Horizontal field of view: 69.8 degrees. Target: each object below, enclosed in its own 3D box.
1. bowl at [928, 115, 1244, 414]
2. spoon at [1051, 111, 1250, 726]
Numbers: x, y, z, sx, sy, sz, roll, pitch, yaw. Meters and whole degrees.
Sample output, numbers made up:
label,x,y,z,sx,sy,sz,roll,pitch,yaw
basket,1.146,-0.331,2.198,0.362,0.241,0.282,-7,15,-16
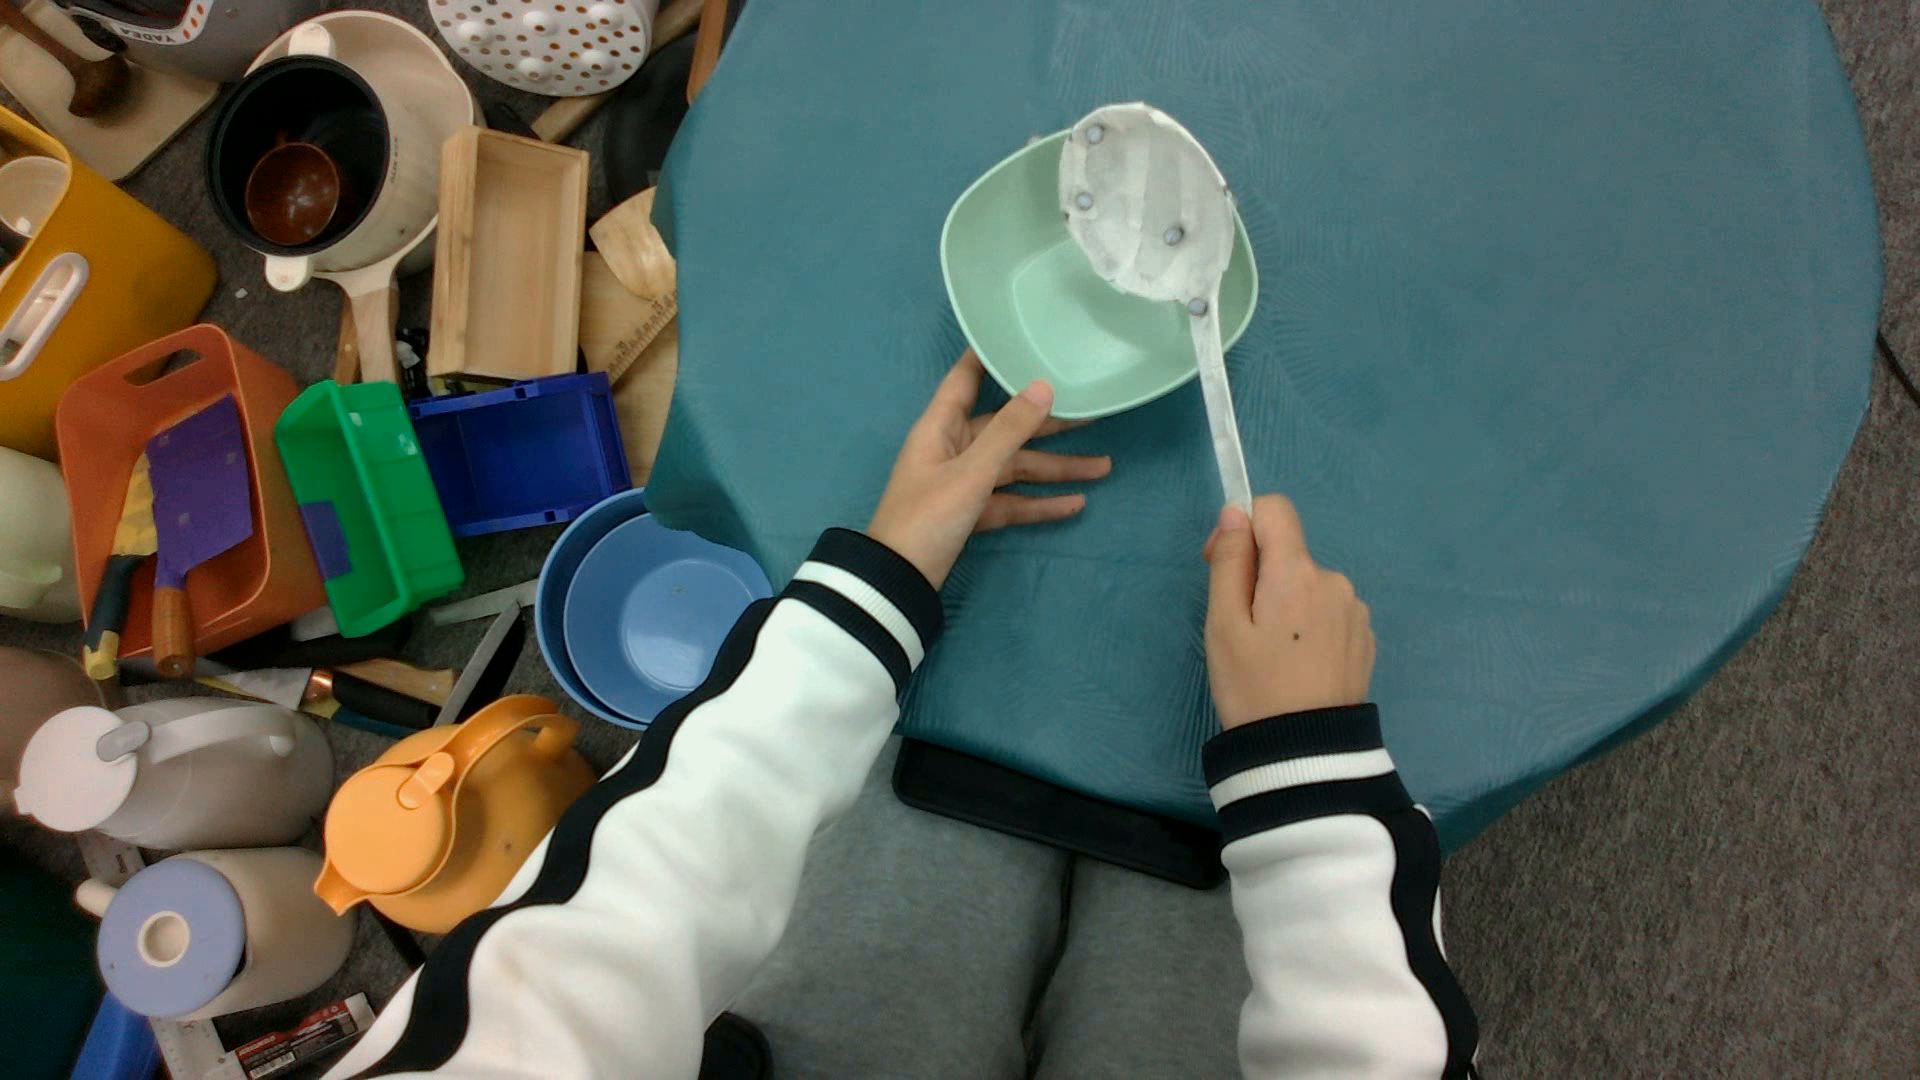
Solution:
label,x,y,z,sx,sy,sz,roll,pitch,yaw
bowl,0.060,-0.126,0.671,0.151,0.058,0.151,-1,79,5
spoon,0.087,-0.051,0.619,0.059,0.100,0.277,-6,90,-26
